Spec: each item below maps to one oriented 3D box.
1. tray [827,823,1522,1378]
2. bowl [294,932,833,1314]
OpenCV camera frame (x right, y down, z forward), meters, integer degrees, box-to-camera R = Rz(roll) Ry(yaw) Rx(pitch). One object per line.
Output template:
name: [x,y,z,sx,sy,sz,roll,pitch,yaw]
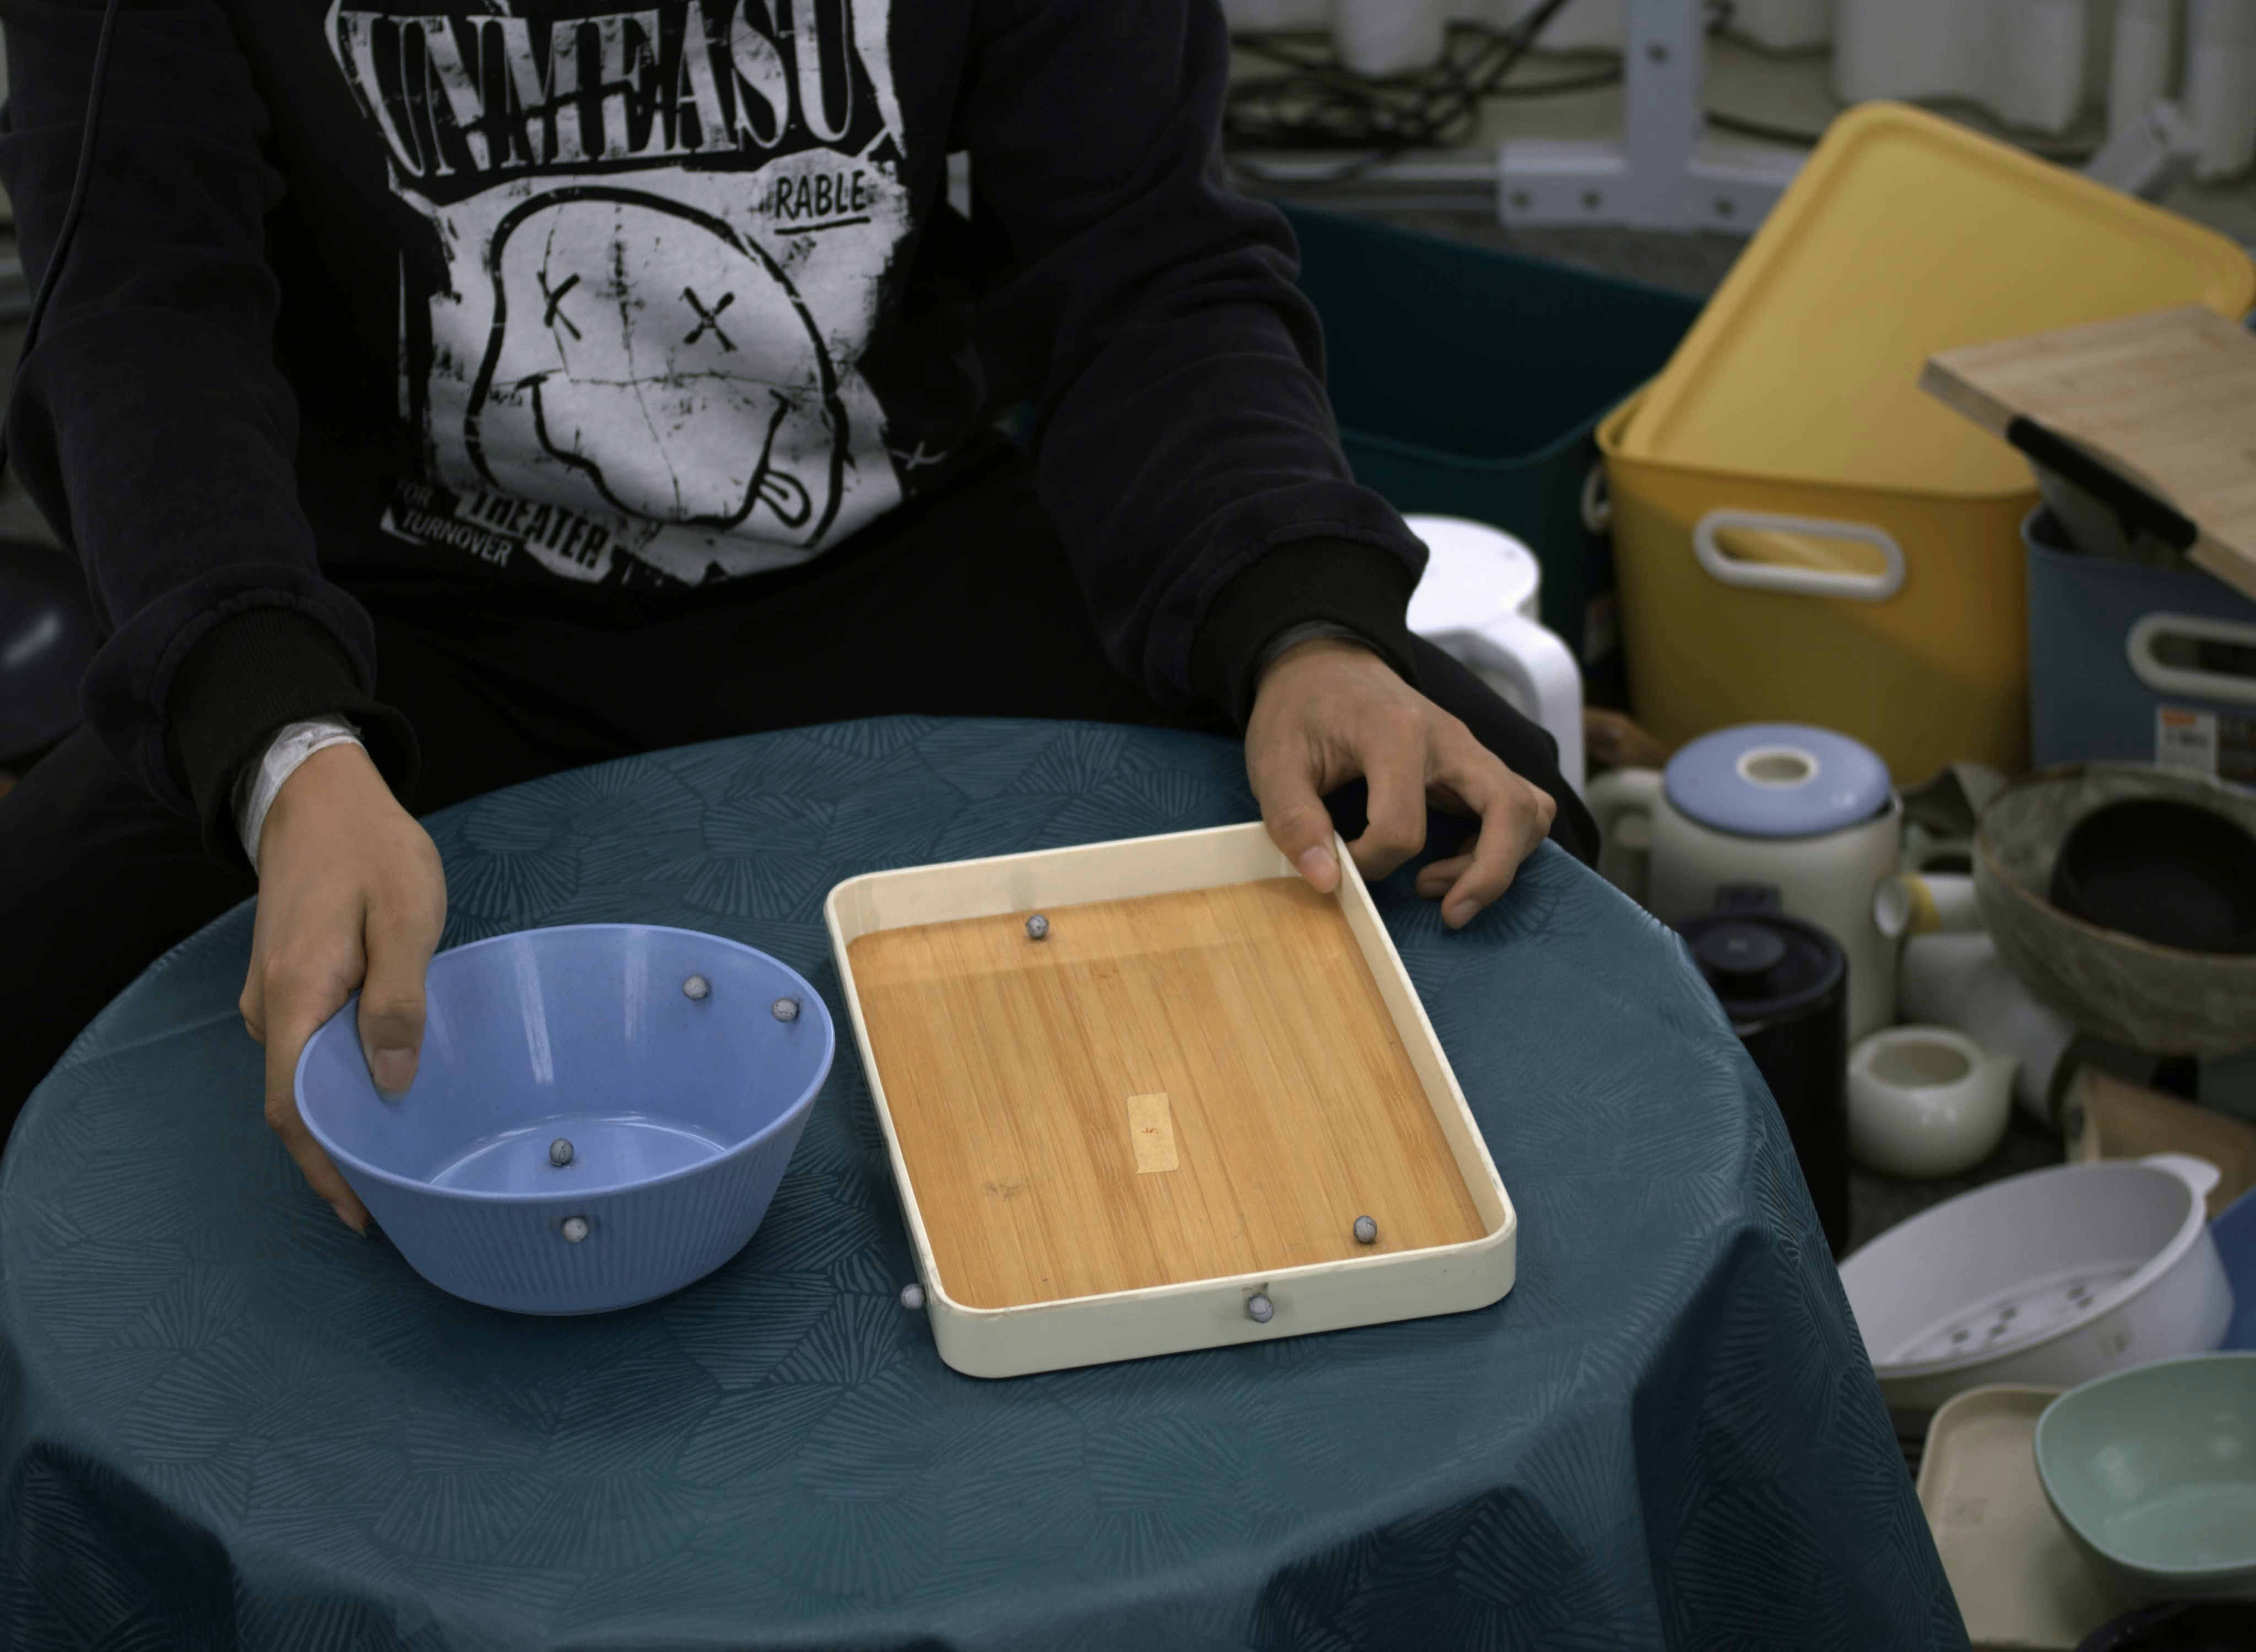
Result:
tray: [0.010,0.087,1.899,0.191,0.027,0.304,-7,28,-8]
bowl: [-0.182,0.103,1.838,0.175,0.069,0.179,-1,26,1]
